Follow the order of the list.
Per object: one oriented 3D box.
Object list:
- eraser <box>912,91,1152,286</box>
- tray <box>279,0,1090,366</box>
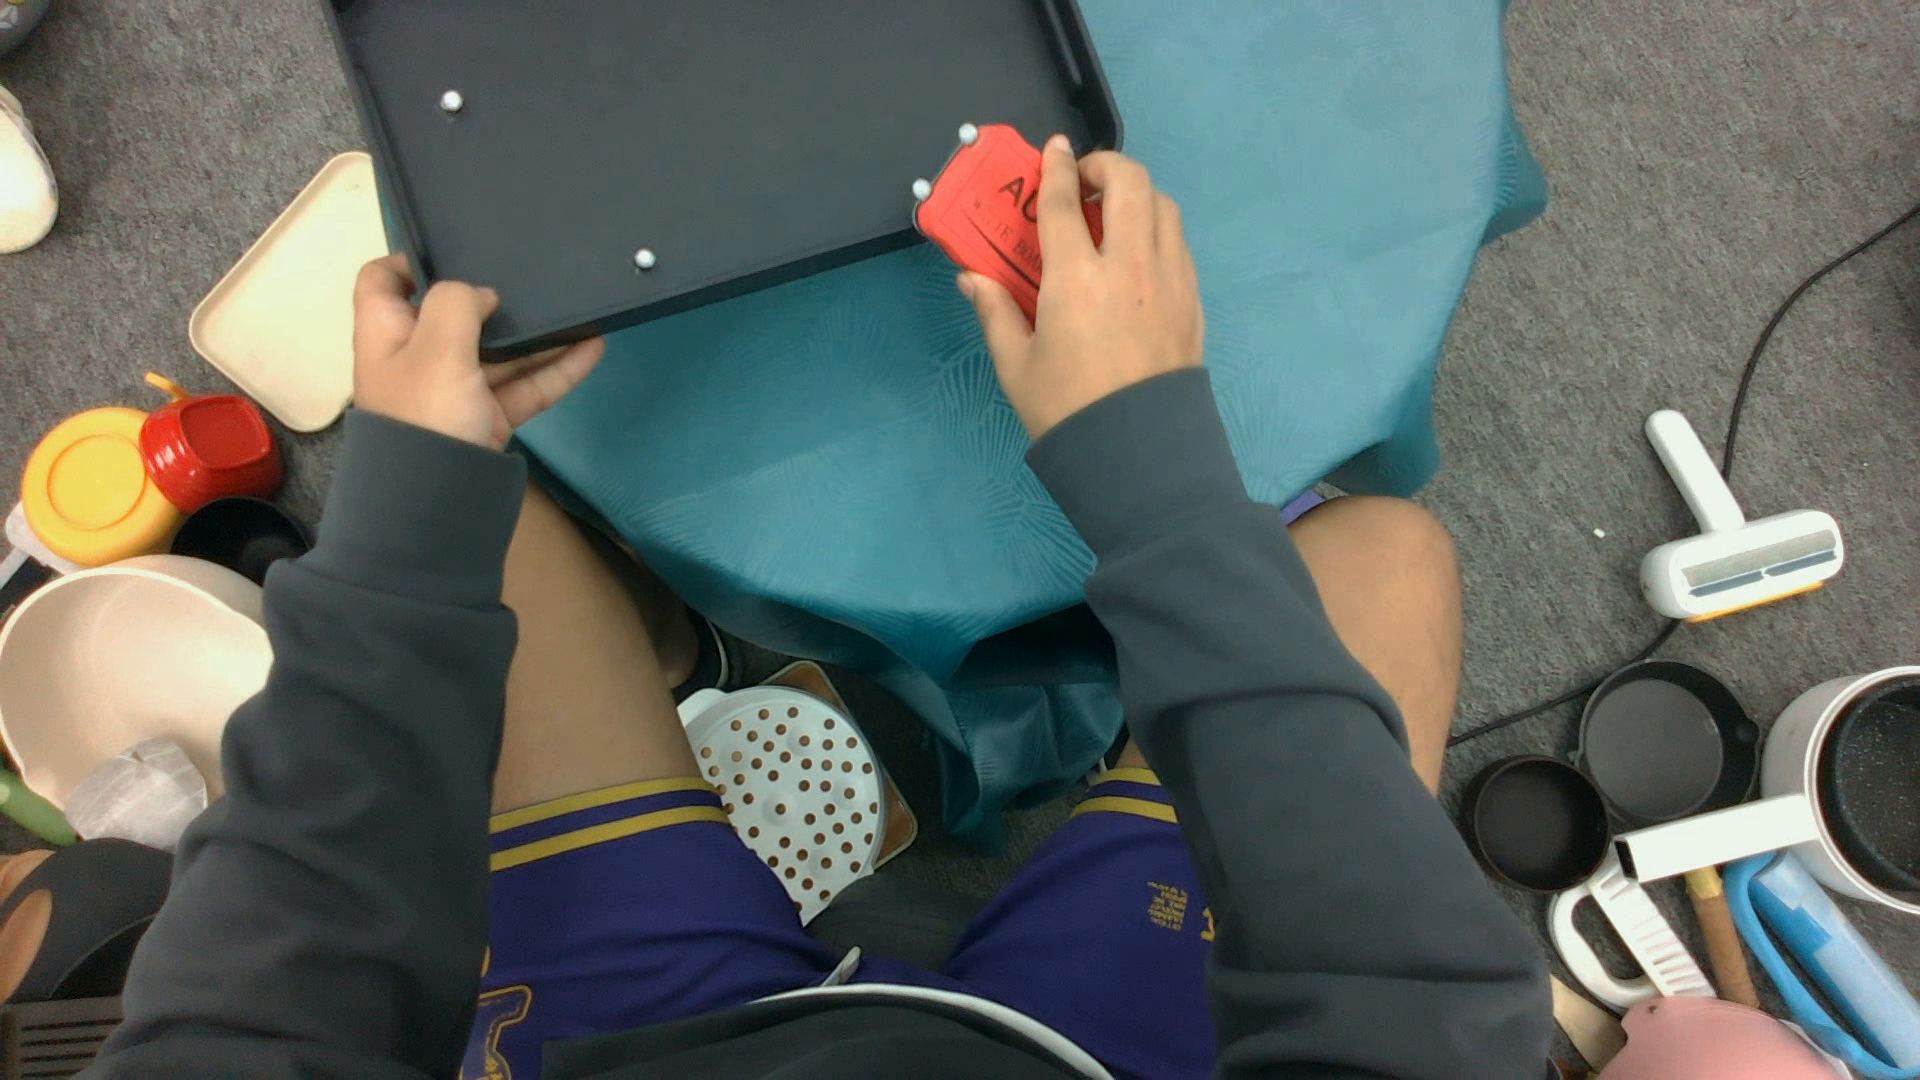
[{"bbox_3d":[0.034,-0.157,0.624,0.108,0.023,0.059,15,94,-29],"label":"eraser"},{"bbox_3d":[-0.111,-0.207,0.612,0.319,0.037,0.184,-22,89,-18],"label":"tray"}]
